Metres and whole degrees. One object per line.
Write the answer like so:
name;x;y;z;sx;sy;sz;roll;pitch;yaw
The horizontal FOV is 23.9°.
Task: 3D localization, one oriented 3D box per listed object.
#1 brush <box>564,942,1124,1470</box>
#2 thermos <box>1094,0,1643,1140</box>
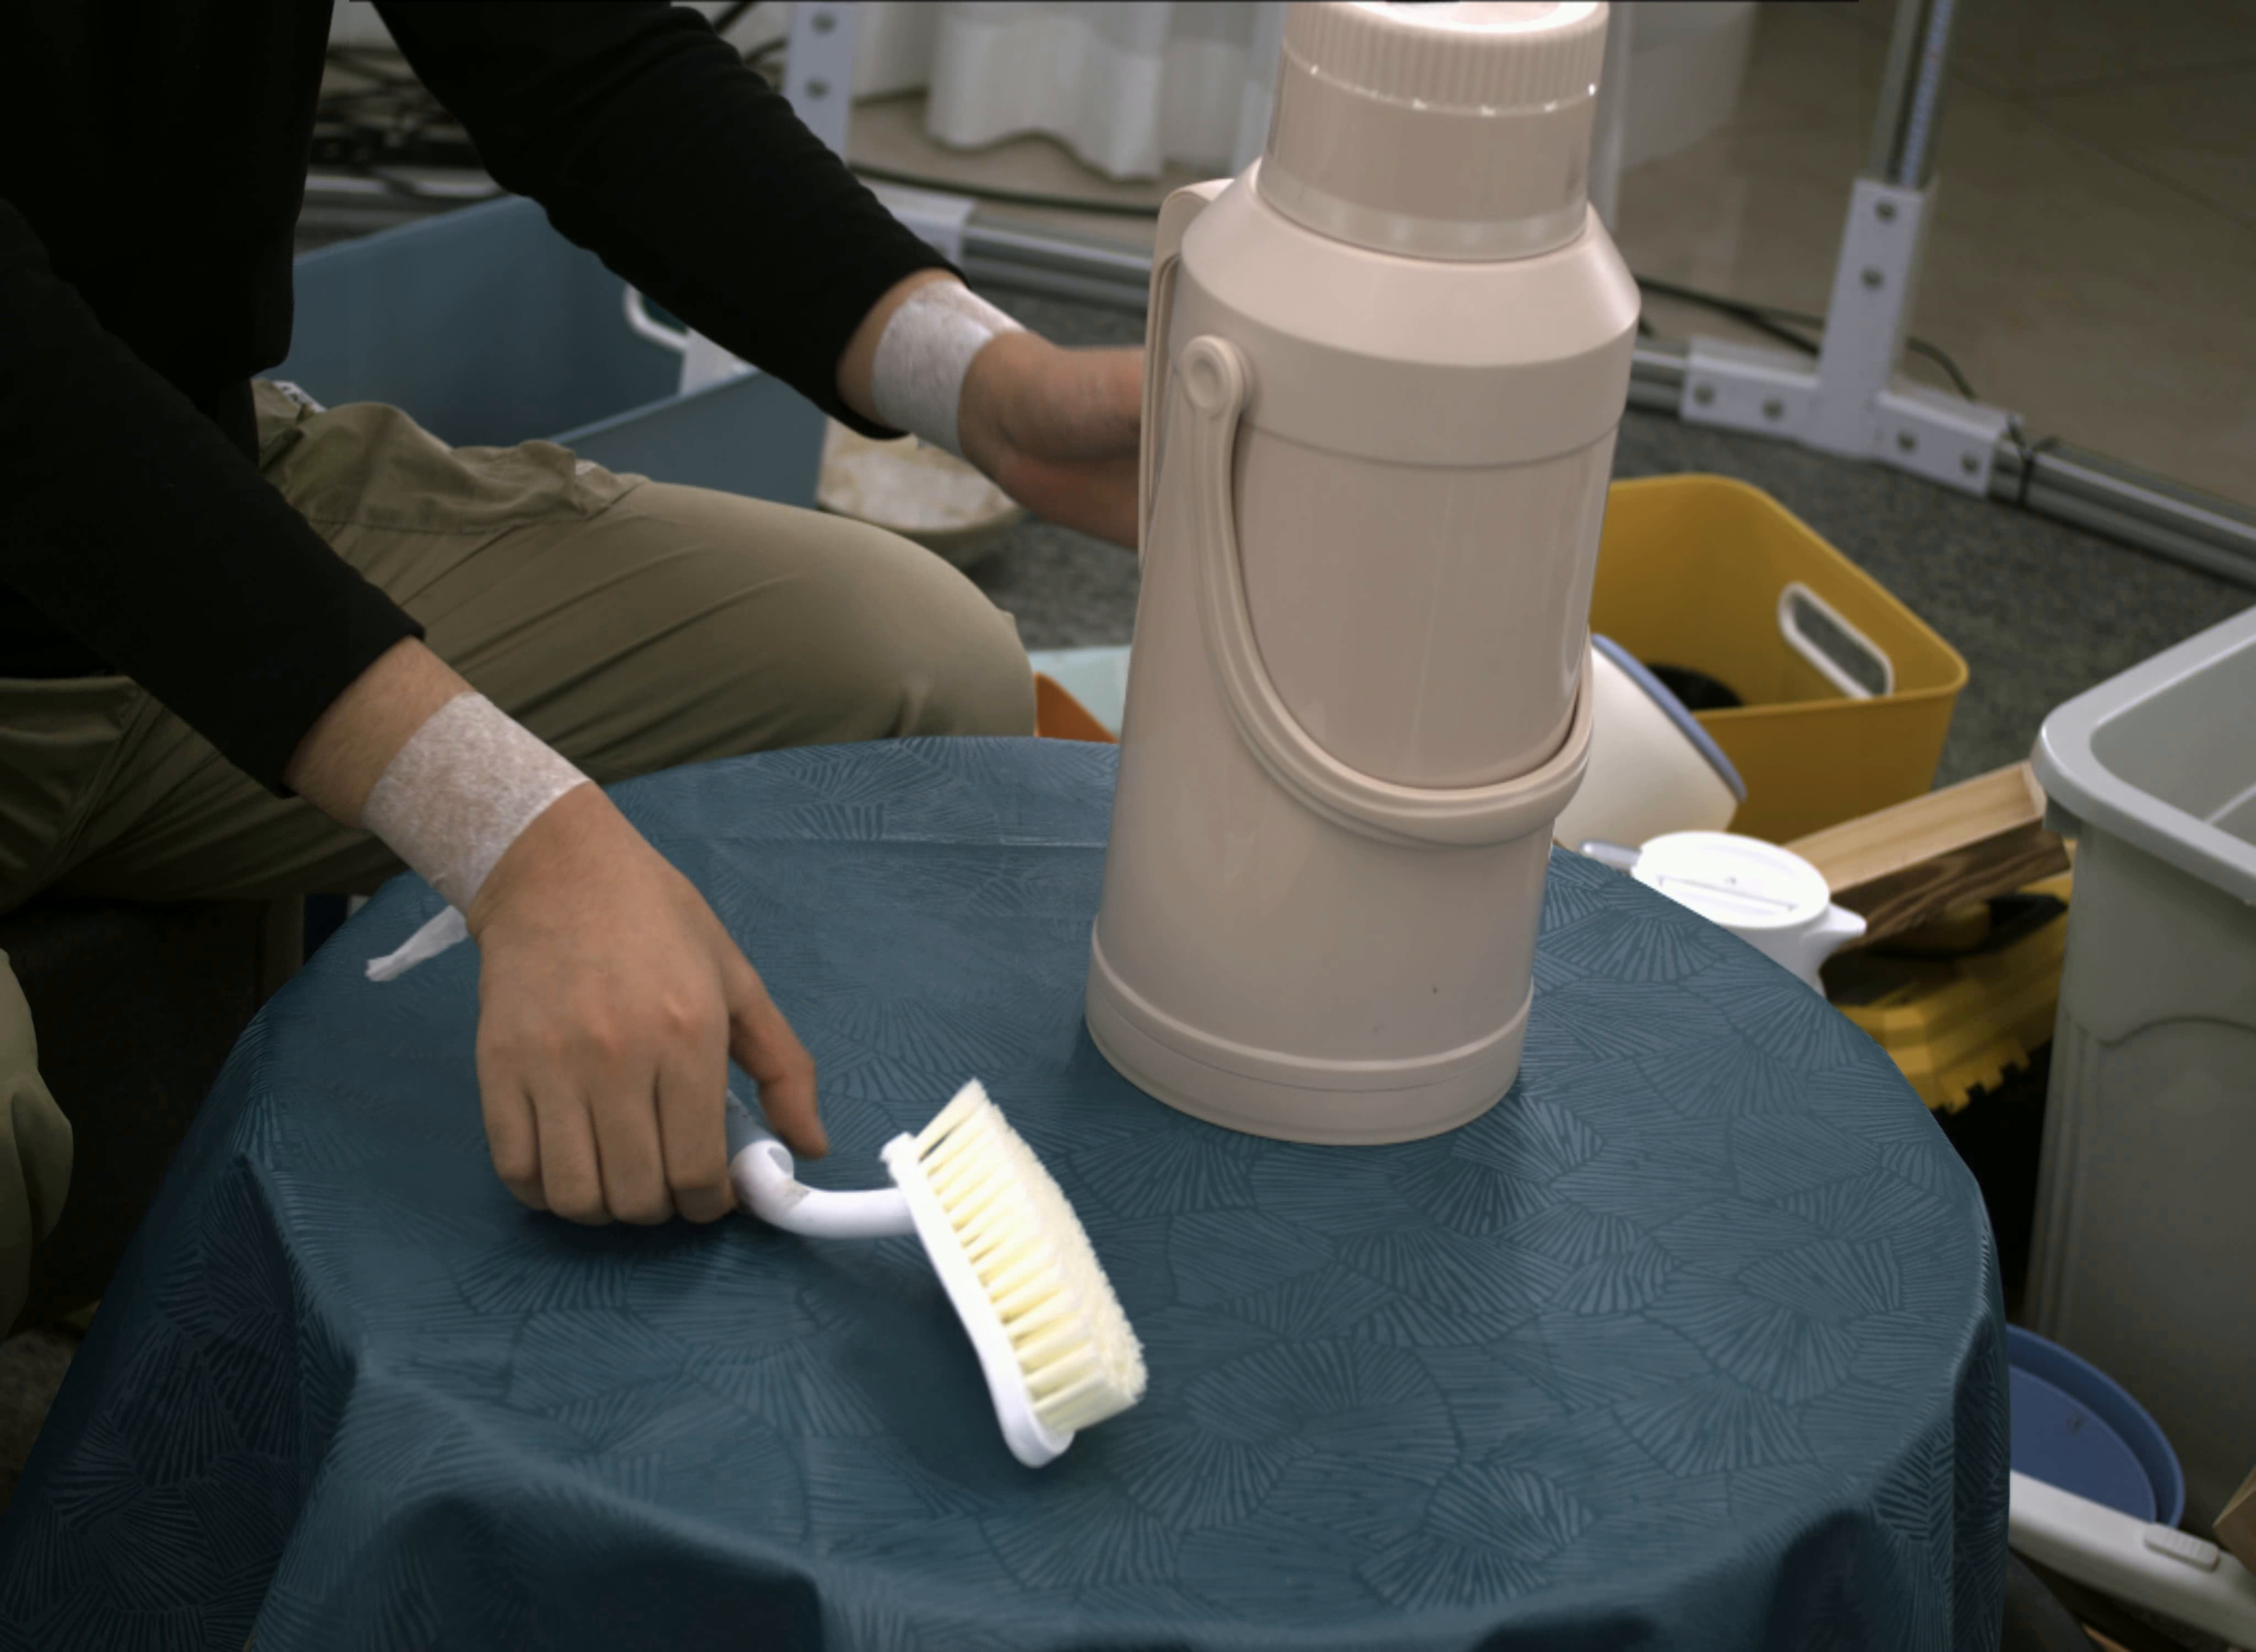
brush;-0.088;0.097;1.751;0.084;0.083;0.328;-9;31;-28
thermos;0.078;-0.108;1.836;0.174;0.405;0.209;-17;35;-36
